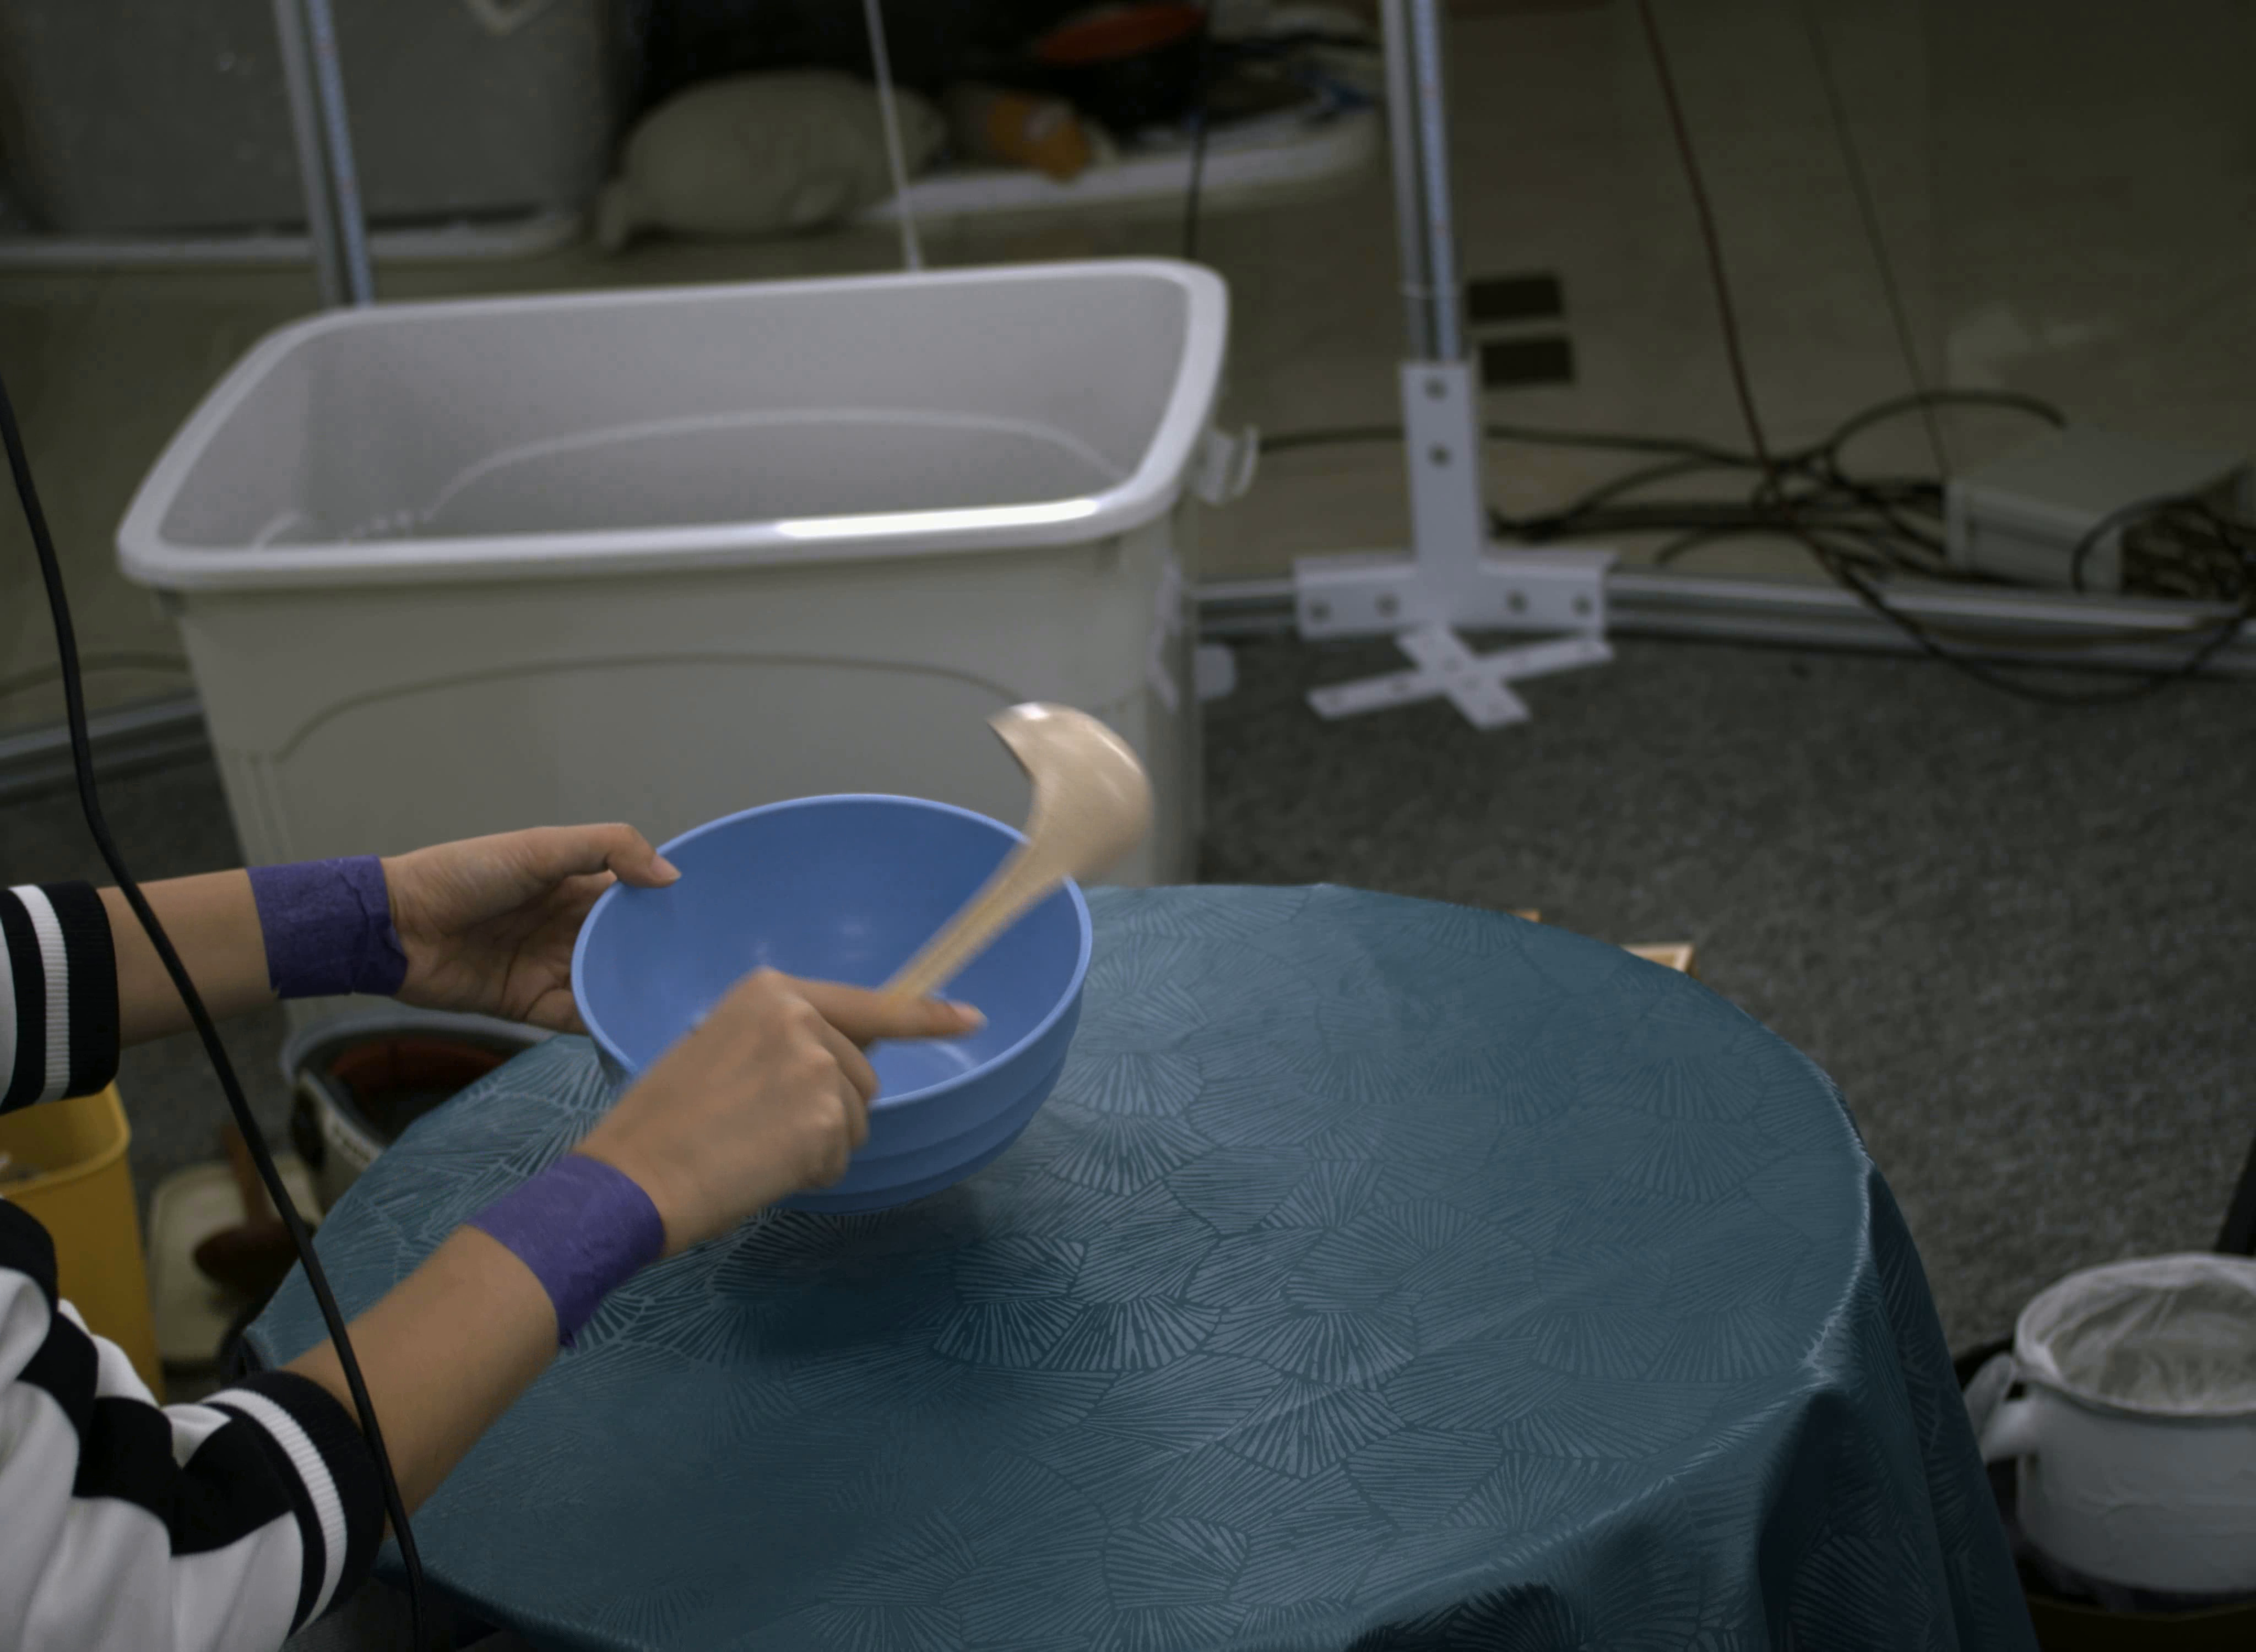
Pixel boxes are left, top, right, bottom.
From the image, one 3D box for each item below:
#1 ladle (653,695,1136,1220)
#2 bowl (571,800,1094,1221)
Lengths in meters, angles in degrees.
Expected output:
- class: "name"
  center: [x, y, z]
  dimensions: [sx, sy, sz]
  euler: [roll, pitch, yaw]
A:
- class: "ladle"
  center: [-0.093, 0.050, 1.948]
  dimensions: [0.252, 0.073, 0.073]
  euler: [-45, 20, -26]
- class: "bowl"
  center: [-0.109, 0.085, 2.147]
  dimensions: [0.196, 0.097, 0.193]
  euler: [-2, 37, 1]
